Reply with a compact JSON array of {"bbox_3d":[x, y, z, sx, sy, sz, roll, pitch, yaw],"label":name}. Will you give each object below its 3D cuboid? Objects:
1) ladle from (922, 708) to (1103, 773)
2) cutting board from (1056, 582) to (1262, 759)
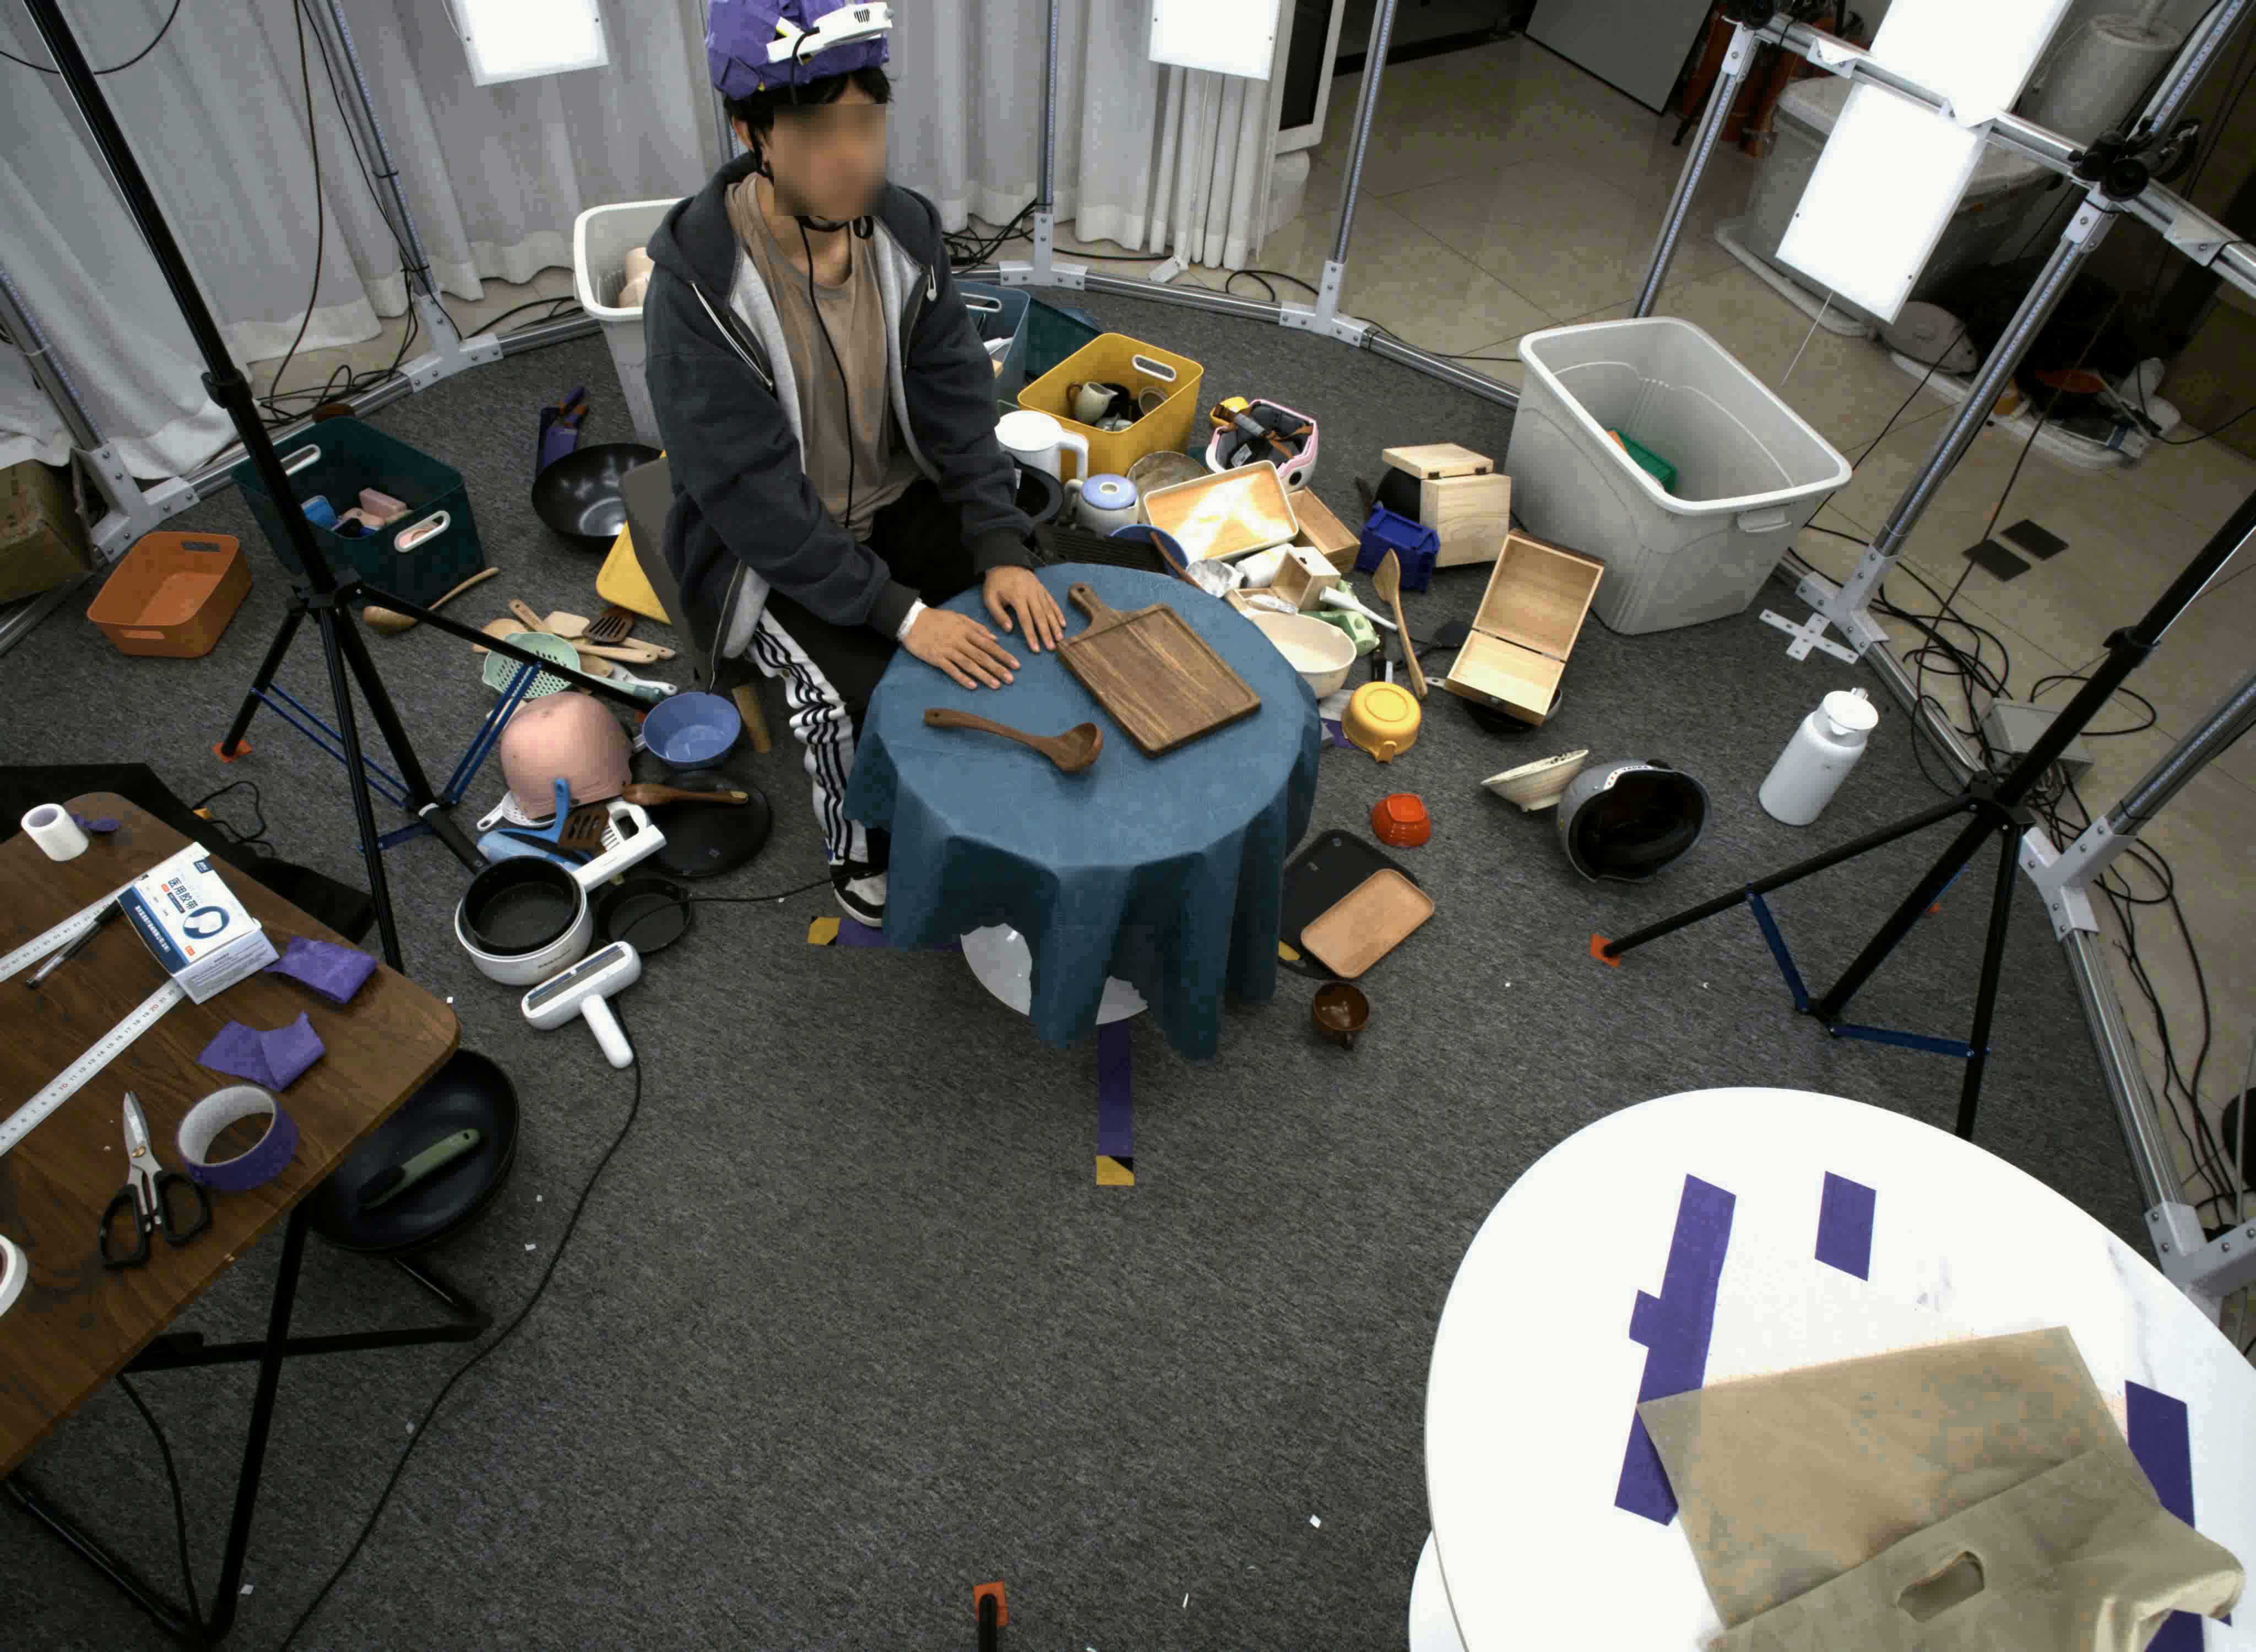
[{"bbox_3d":[-0.158,-0.130,1.727,0.261,0.063,0.078,17,58,10],"label":"ladle"},{"bbox_3d":[0.015,-0.248,1.868,0.202,0.022,0.359,-24,55,-24],"label":"cutting board"}]
